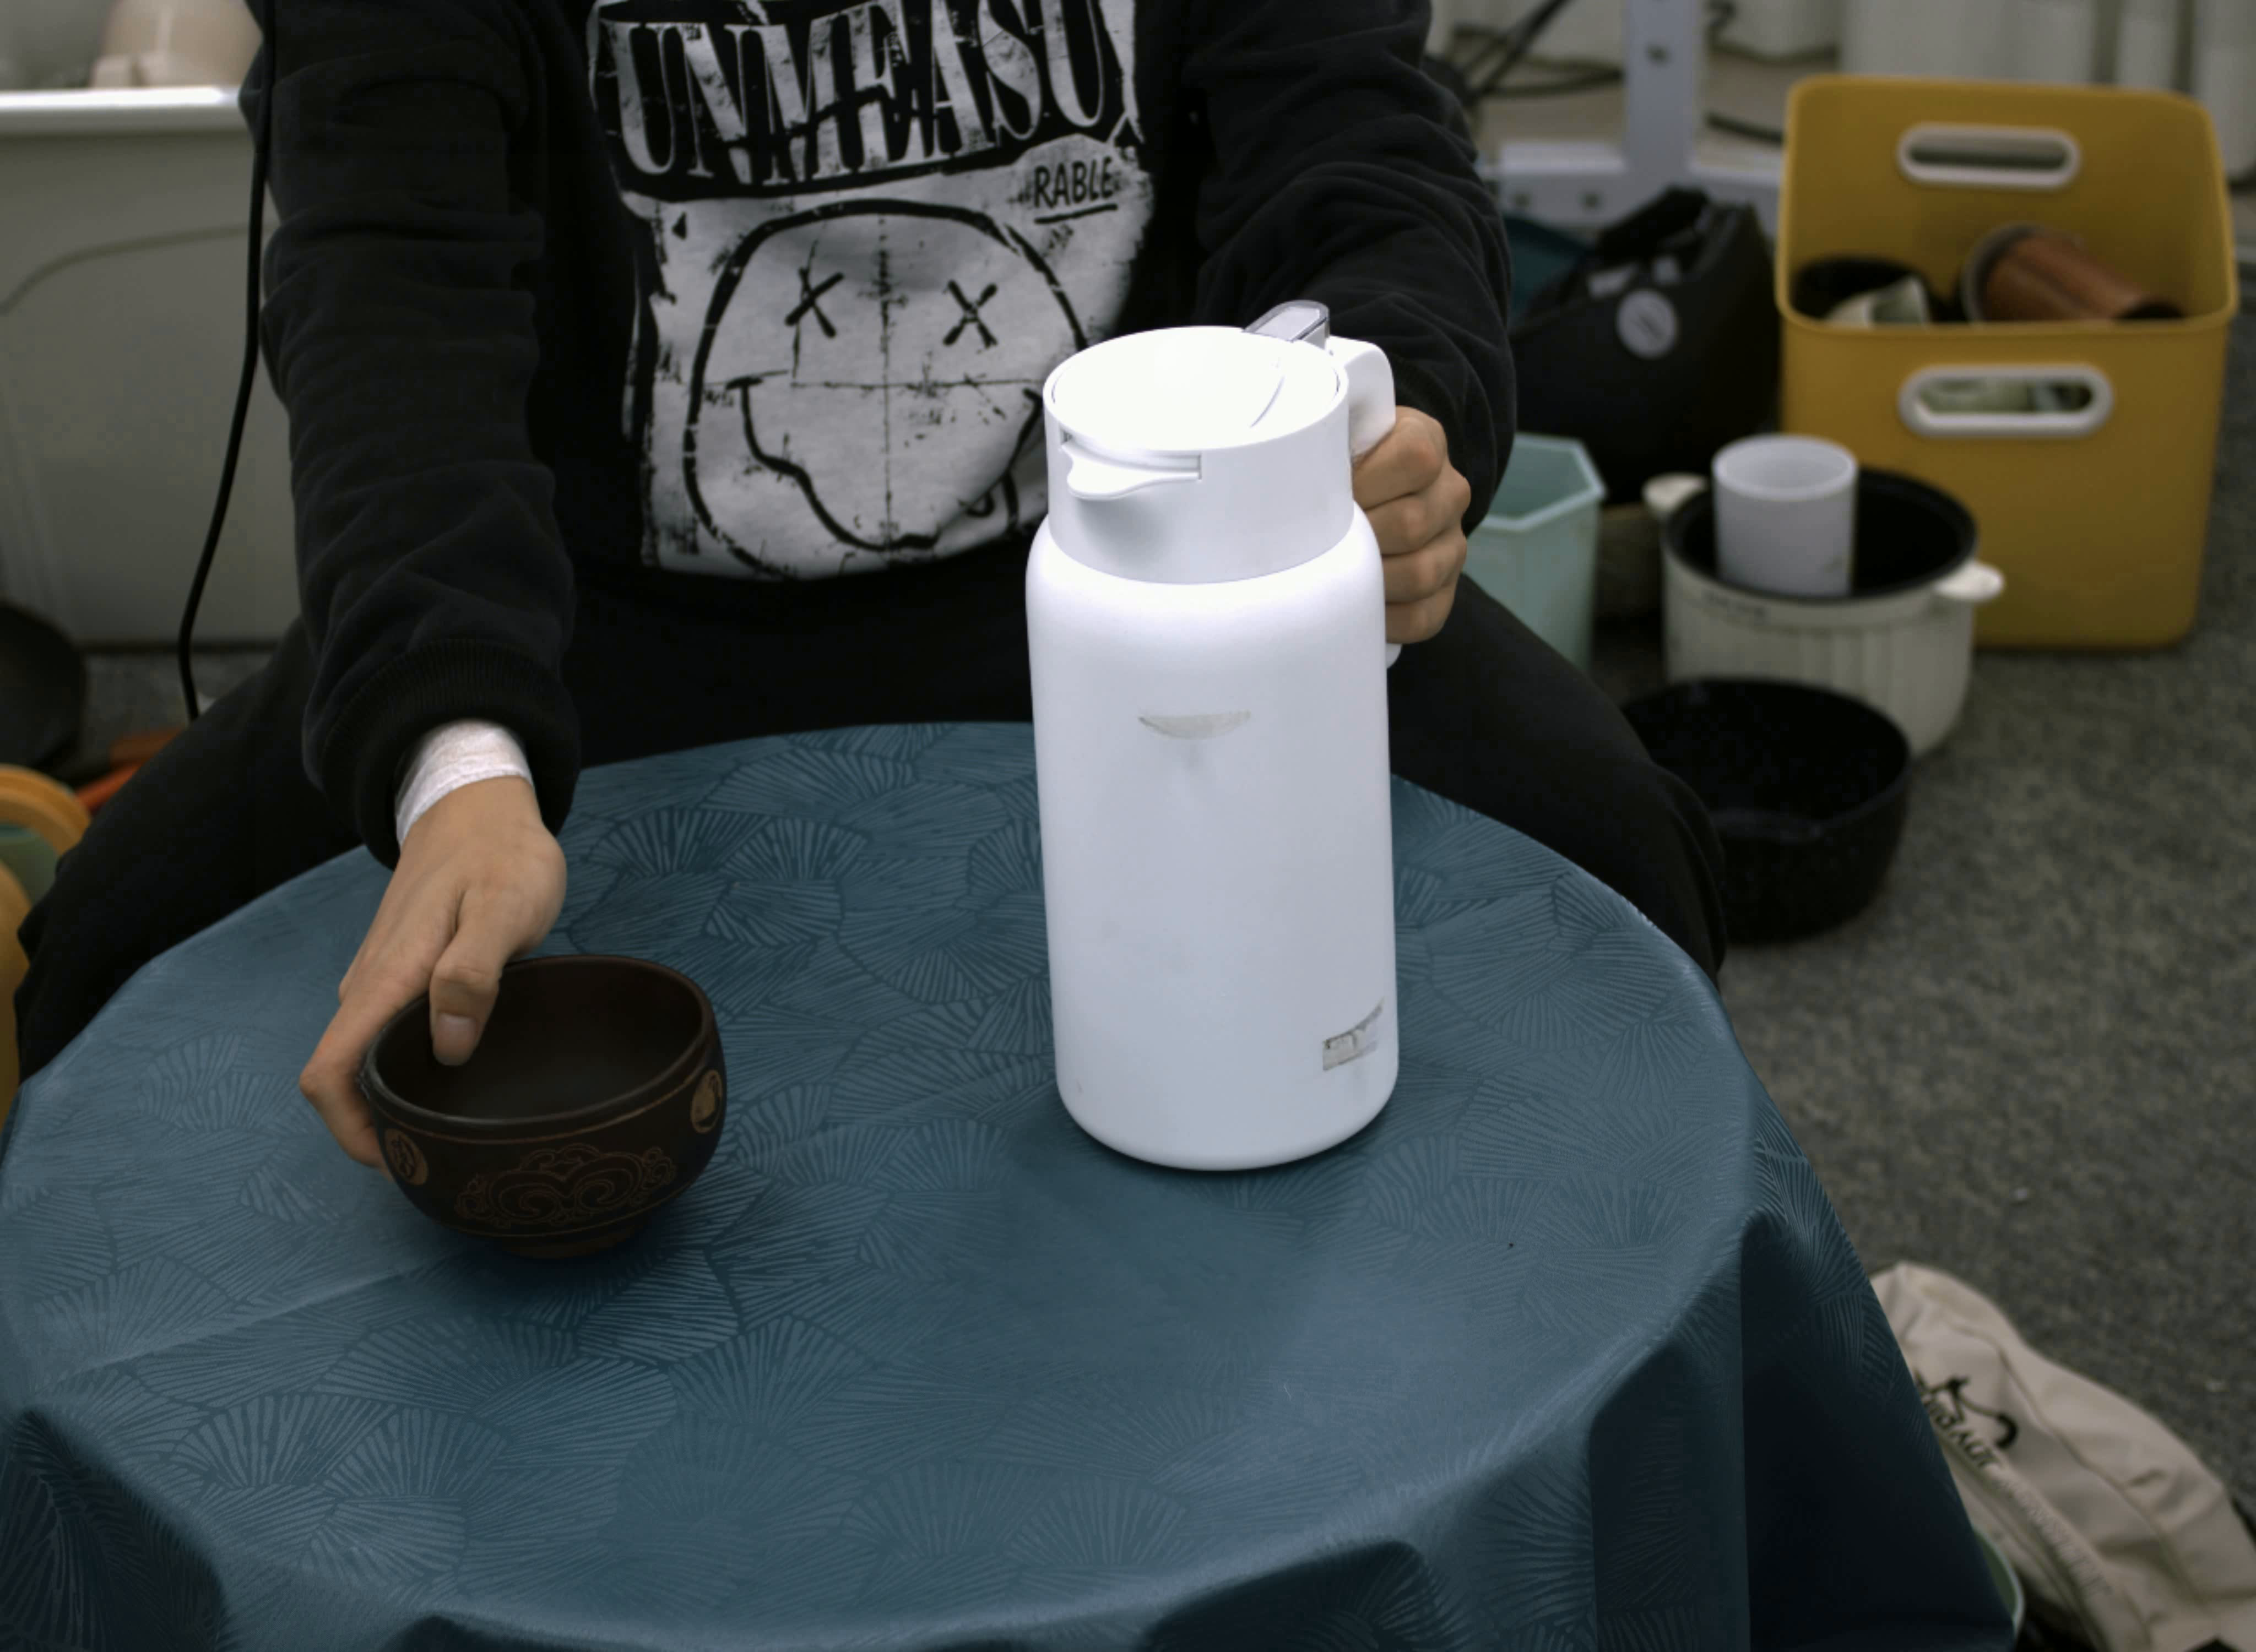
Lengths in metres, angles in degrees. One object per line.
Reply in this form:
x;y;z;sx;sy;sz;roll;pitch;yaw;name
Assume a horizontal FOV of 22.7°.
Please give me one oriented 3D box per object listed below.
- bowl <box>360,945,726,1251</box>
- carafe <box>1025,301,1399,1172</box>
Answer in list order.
-0.189;0.096;1.842;0.117;0.069;0.120;-6;25;3;bowl
0.035;-0.034;1.869;0.123;0.266;0.175;10;29;29;carafe
